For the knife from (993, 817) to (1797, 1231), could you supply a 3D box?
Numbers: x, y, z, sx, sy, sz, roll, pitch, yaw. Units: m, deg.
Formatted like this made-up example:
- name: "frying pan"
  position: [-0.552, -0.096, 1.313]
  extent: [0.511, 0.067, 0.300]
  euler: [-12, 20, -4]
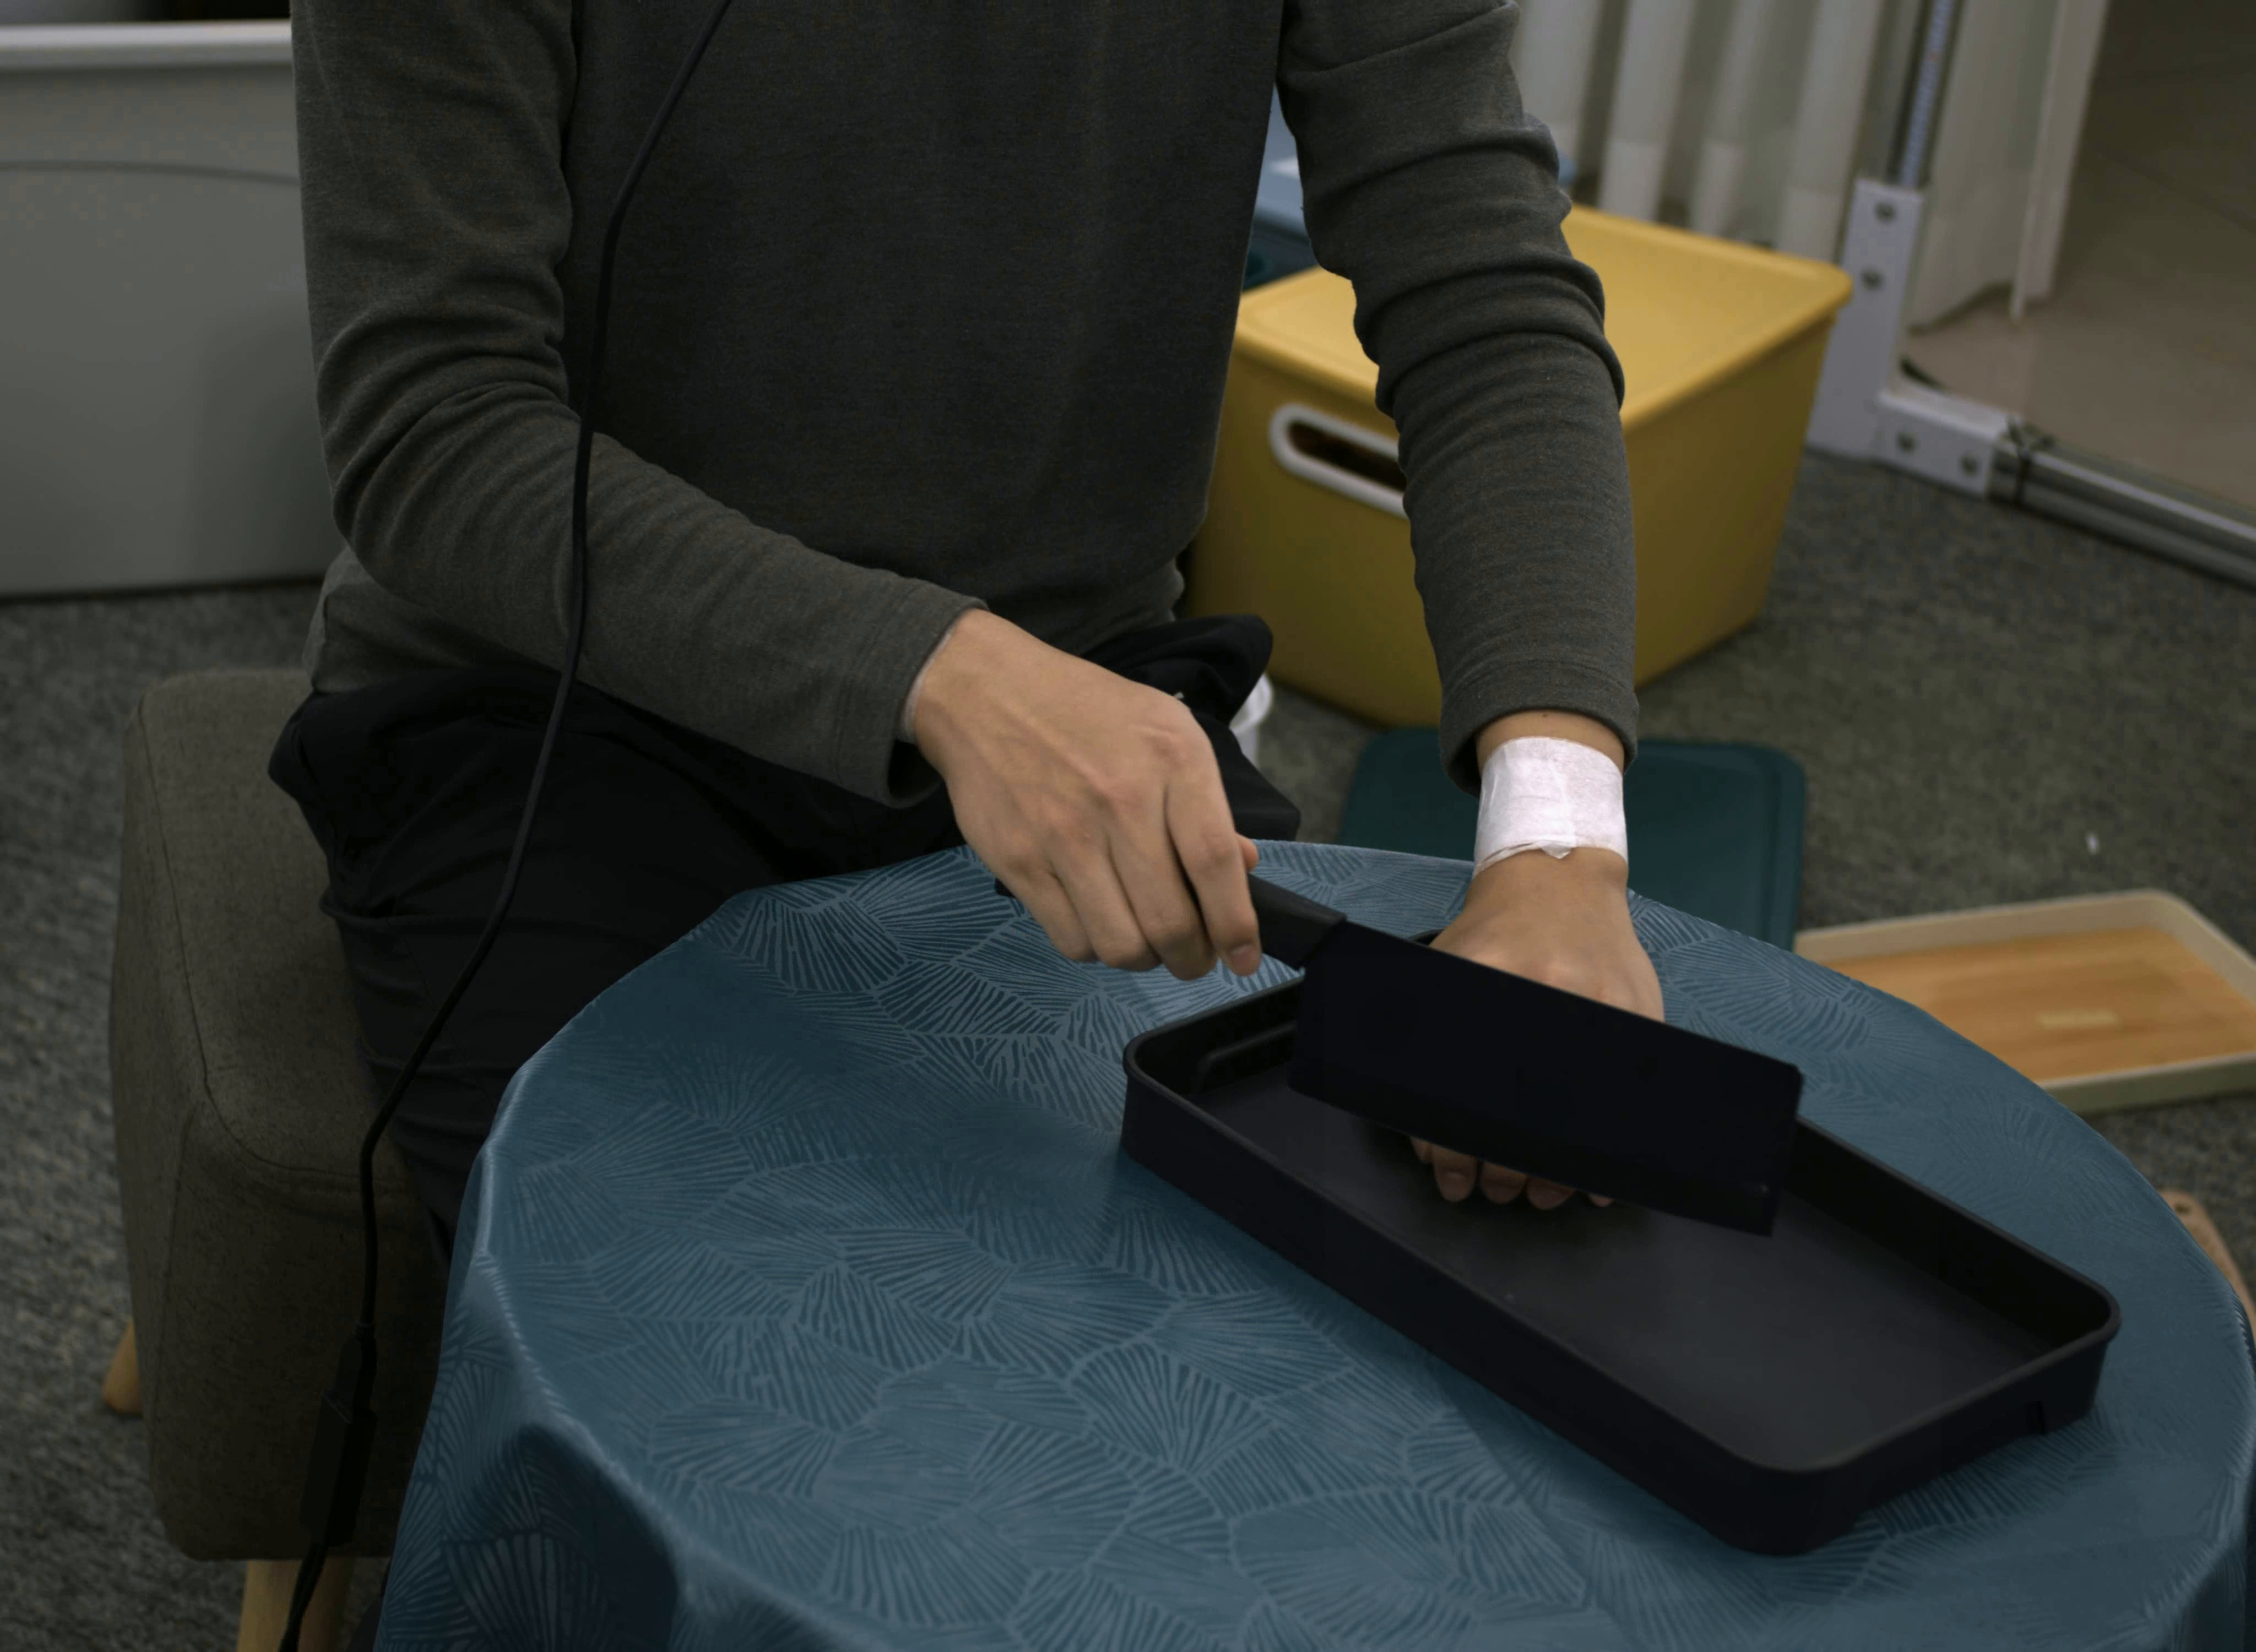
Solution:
- name: "knife"
  position: [0.084, 0.061, 1.775]
  extent: [0.304, 0.081, 0.021]
  euler: [22, 21, 26]

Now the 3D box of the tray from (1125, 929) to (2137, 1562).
- name: "tray"
  position: [0.163, 0.134, 1.782]
  extent: [0.183, 0.037, 0.320]
  euler: [-19, 36, -41]
